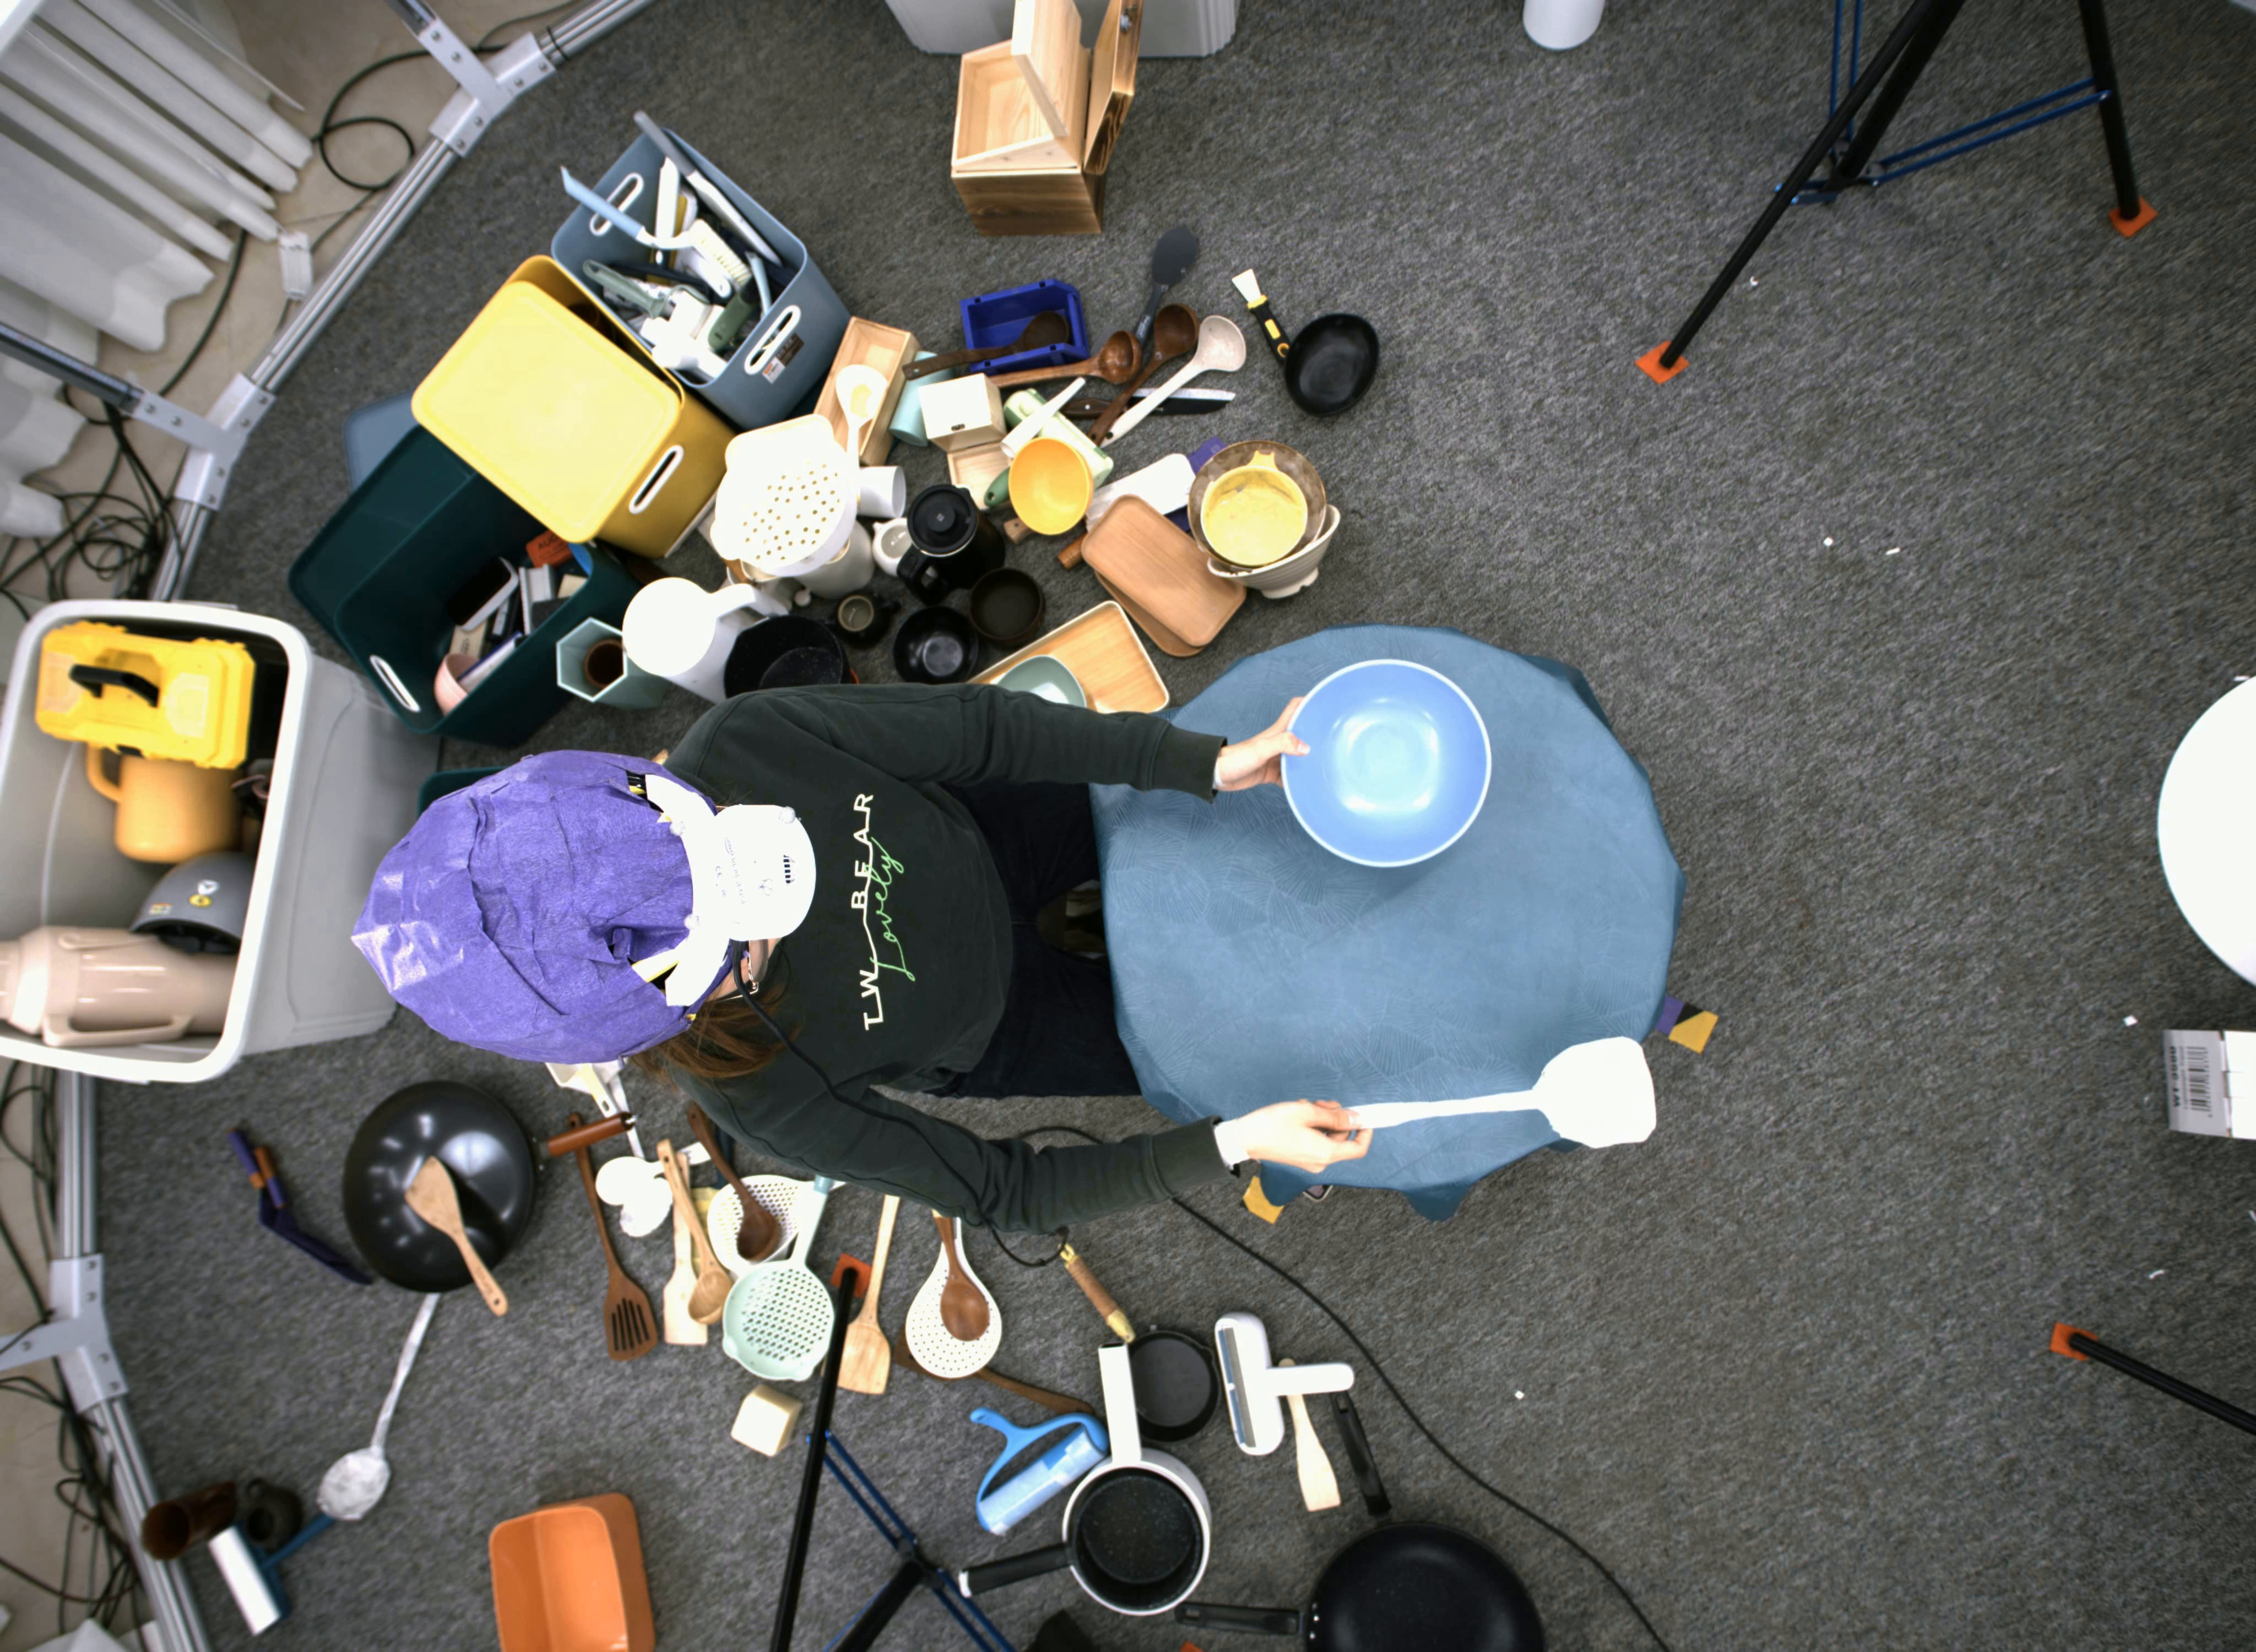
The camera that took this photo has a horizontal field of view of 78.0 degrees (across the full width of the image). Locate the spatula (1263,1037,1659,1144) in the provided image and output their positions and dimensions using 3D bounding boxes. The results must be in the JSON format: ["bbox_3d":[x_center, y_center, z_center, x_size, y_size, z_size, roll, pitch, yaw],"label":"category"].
[{"bbox_3d":[0.311,0.258,1.295,0.365,0.045,0.097,-5,79,0],"label":"spatula"}]

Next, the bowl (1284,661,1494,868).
[{"bbox_3d":[0.253,-0.063,1.345,0.197,0.094,0.197,1,98,9],"label":"bowl"}]
